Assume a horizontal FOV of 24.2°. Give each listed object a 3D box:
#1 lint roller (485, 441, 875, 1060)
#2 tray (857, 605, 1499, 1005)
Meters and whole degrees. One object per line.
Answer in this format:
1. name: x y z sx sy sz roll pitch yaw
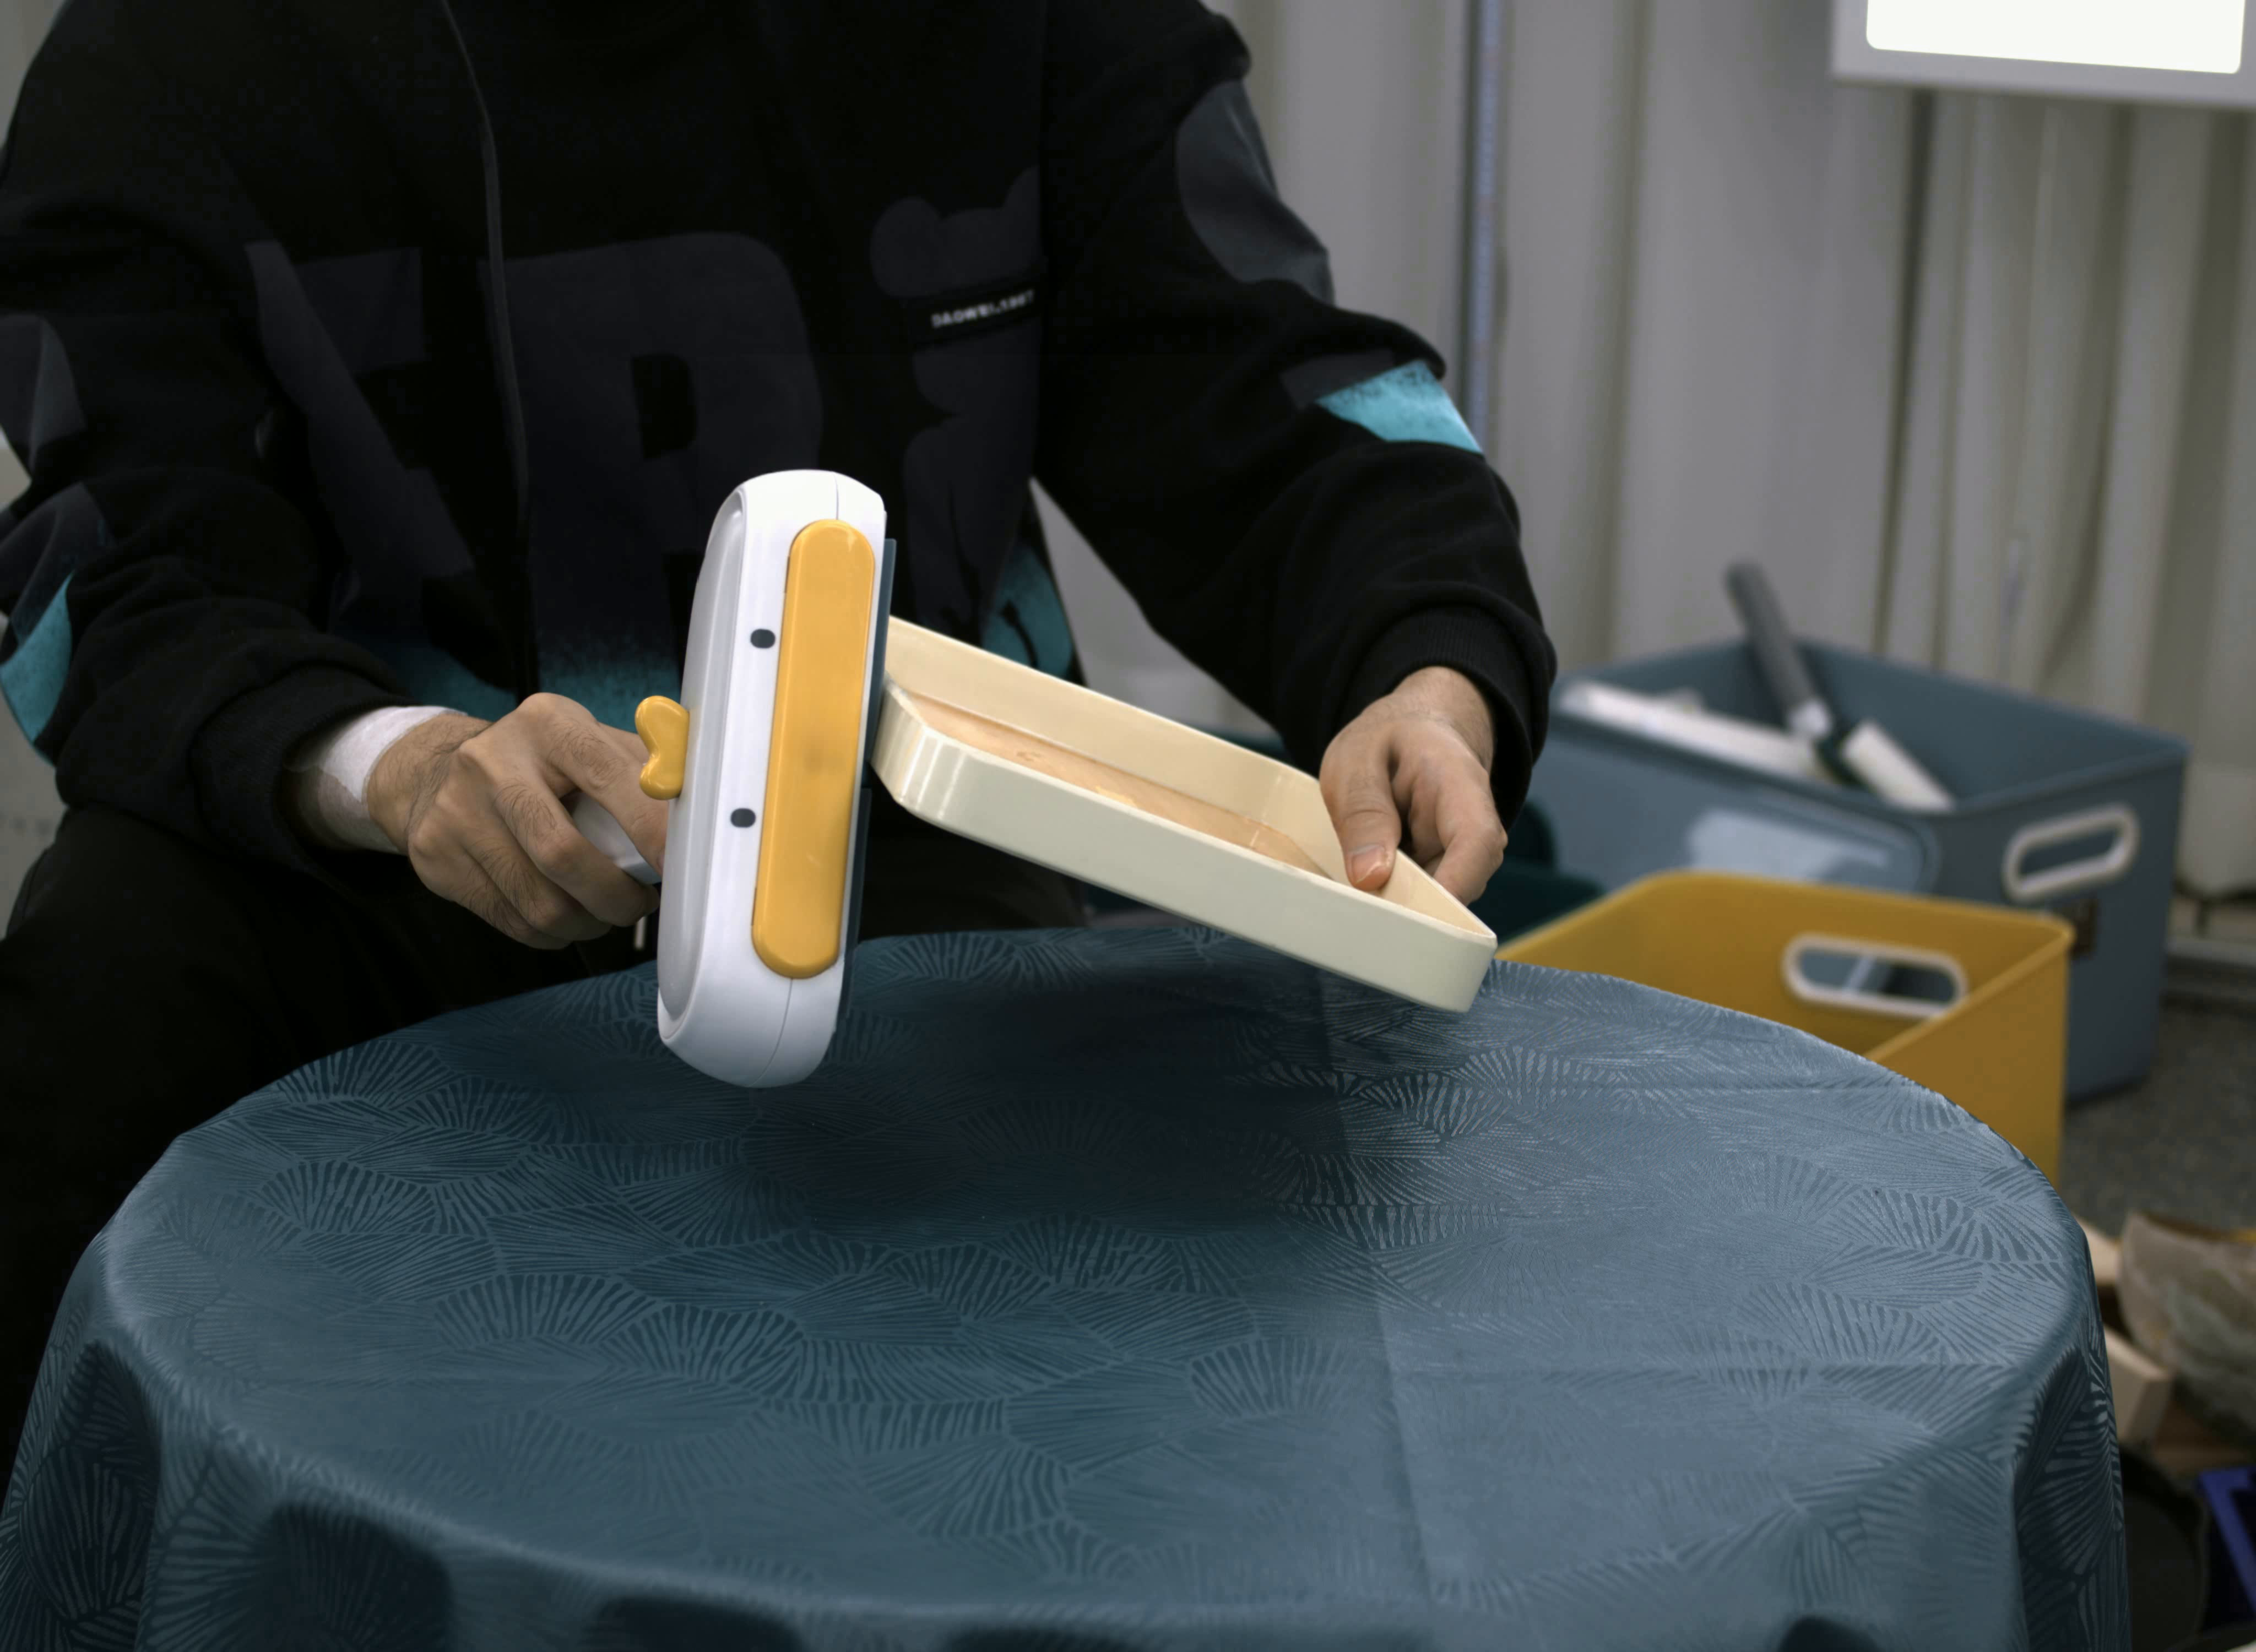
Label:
1. lint roller: -0.141 -0.007 1.645 0.074 0.192 0.192 8 -21 -26
2. tray: -0.001 -0.012 1.686 0.192 0.027 0.298 20 7 -12
